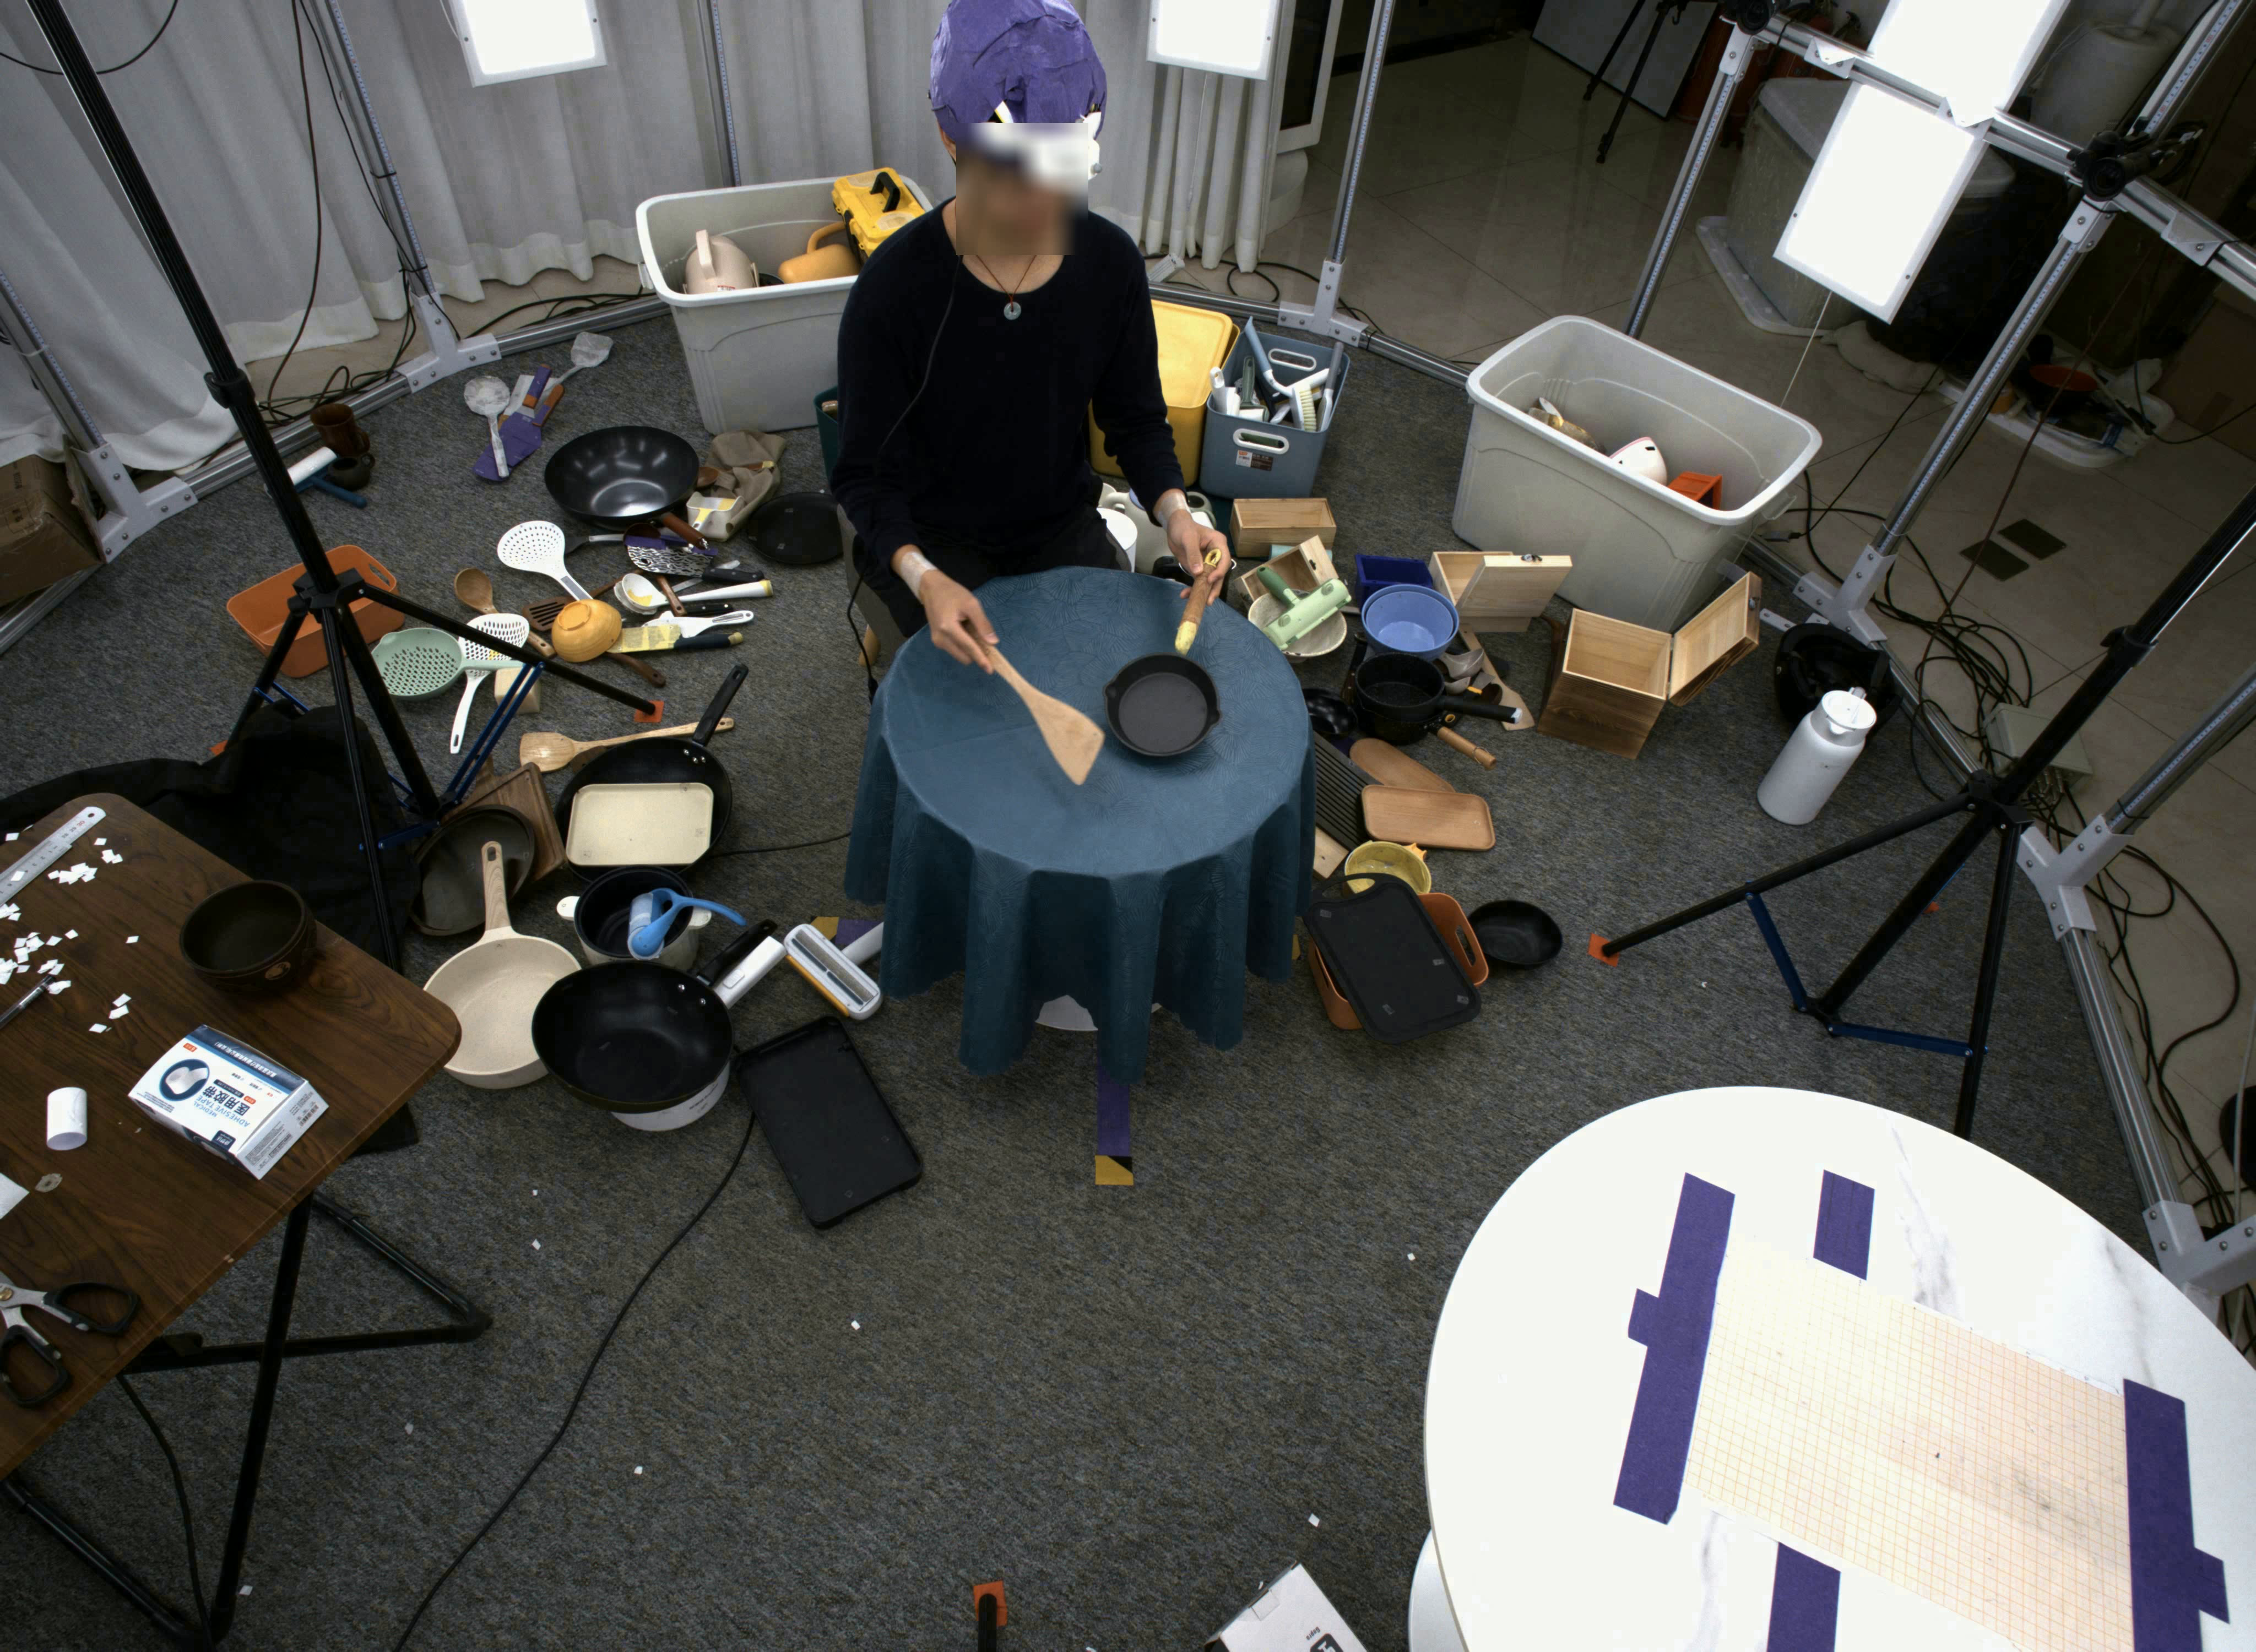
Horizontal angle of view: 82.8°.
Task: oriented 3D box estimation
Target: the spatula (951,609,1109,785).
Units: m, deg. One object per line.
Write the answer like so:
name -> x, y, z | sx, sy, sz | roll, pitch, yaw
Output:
spatula -> -0.138, -0.187, 1.712 | 0.333, 0.079, 0.016 | 46, 22, 25

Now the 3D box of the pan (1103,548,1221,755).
pan -> 0.075, -0.241, 1.788 | 0.169, 0.049, 0.328 | 17, 71, 11
